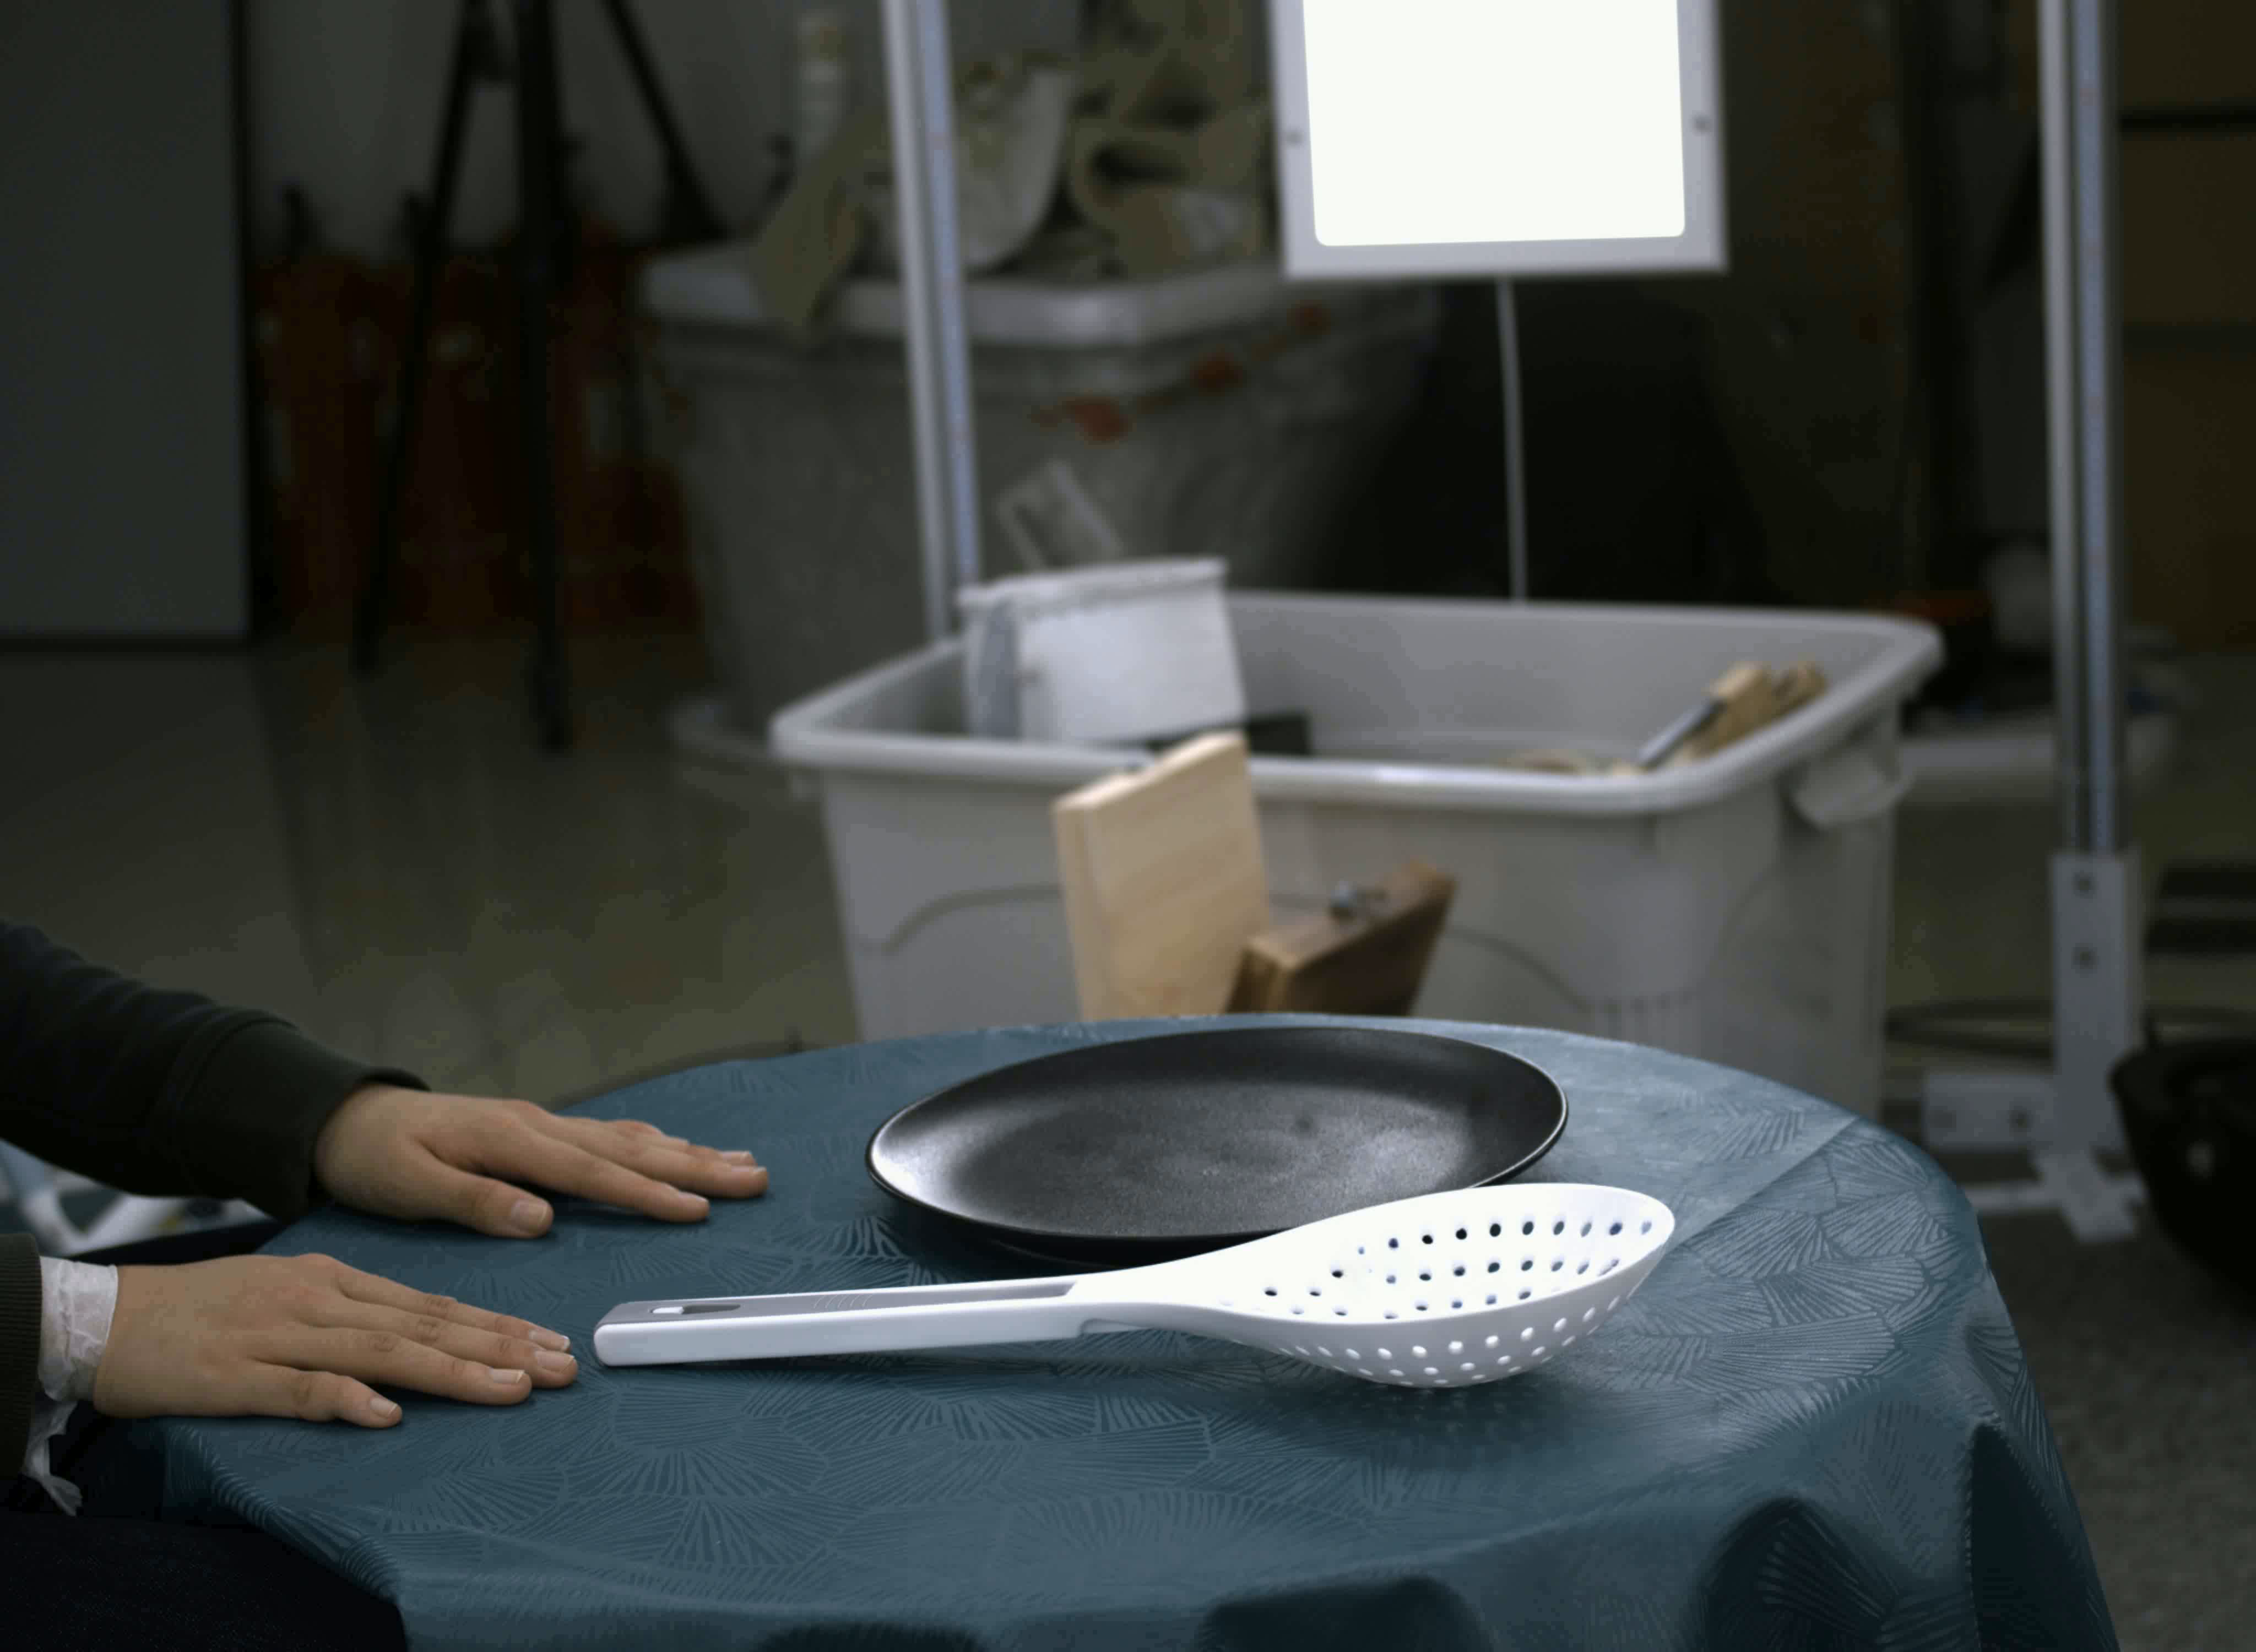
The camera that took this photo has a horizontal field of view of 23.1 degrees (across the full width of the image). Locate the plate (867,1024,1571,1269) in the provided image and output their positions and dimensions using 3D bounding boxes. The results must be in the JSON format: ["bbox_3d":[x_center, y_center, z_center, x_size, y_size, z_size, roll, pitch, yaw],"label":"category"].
[{"bbox_3d":[0.032,0.113,1.893,0.244,0.023,0.244,-5,14,0],"label":"plate"}]

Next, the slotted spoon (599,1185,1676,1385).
[{"bbox_3d":[-0.001,0.147,1.717,0.354,0.046,0.134,-1,12,18],"label":"slotted spoon"}]
